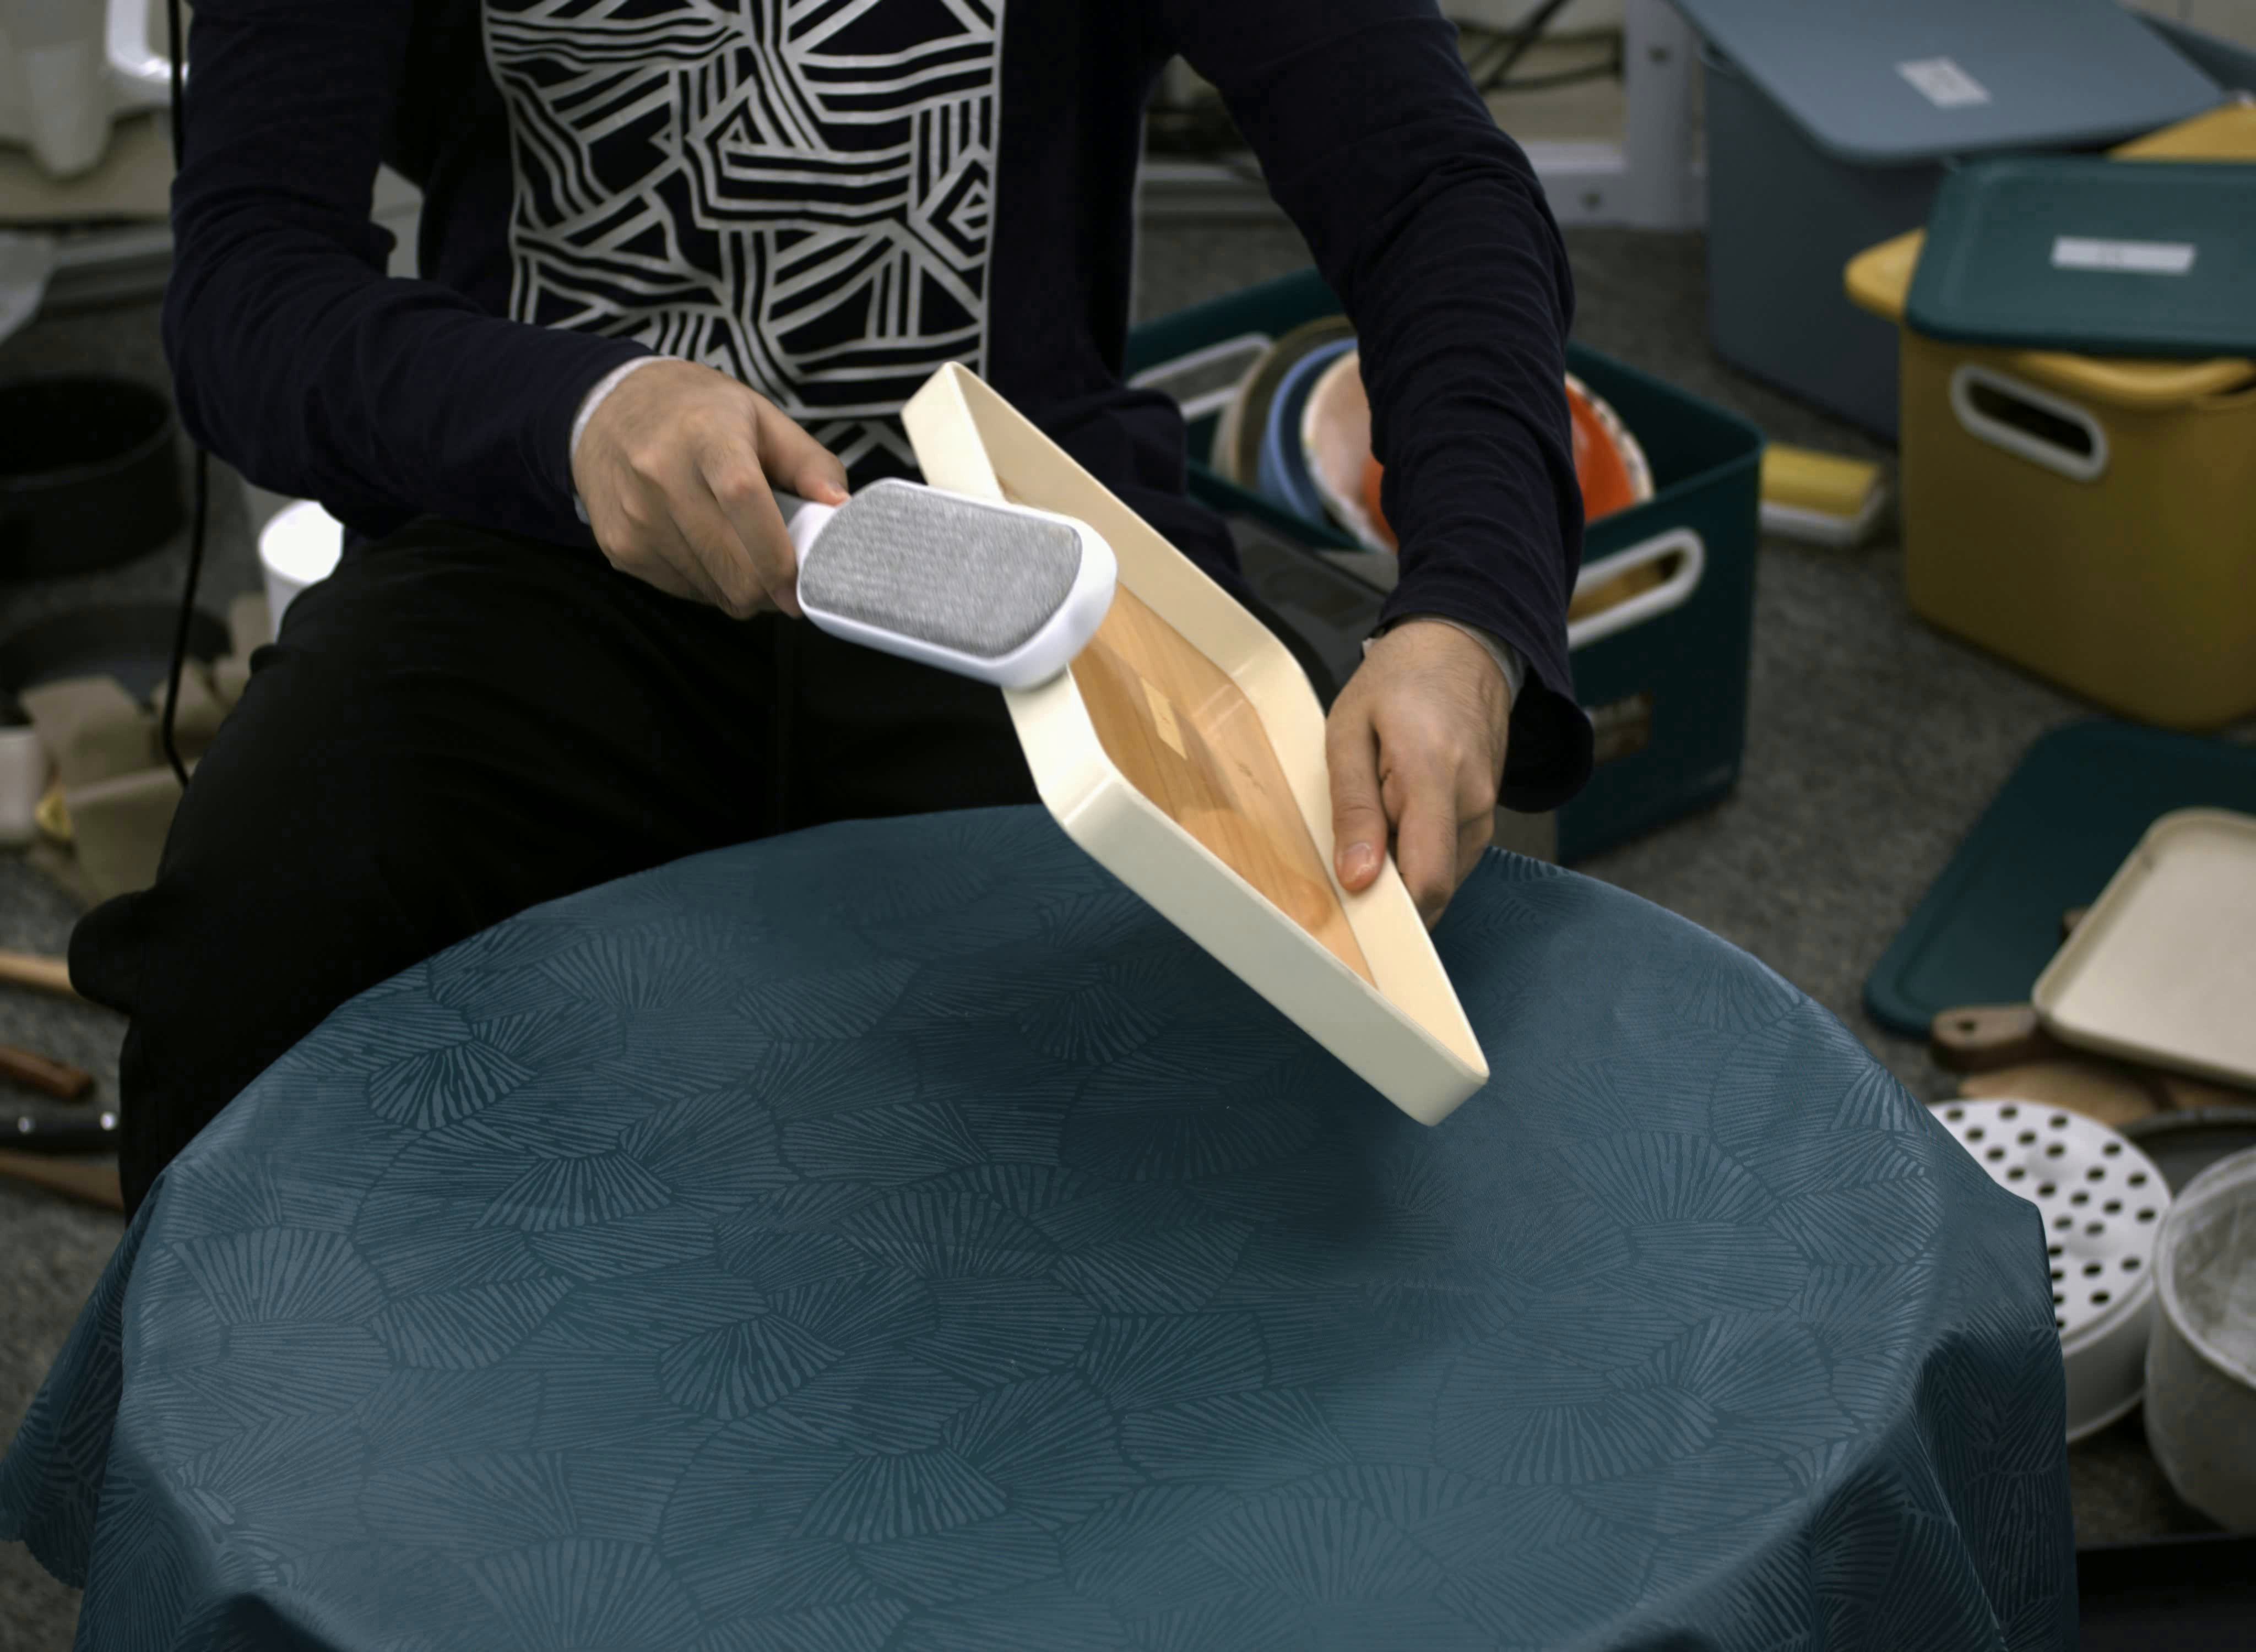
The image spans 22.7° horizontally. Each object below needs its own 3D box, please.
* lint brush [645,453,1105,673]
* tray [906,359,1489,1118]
[{"bbox_3d":[-0.090,-0.096,1.879,0.021,0.060,0.308,33,-8,-30],"label":"lint brush"},{"bbox_3d":[0.018,-0.034,1.874,0.027,0.190,0.304,-43,28,12],"label":"tray"}]
